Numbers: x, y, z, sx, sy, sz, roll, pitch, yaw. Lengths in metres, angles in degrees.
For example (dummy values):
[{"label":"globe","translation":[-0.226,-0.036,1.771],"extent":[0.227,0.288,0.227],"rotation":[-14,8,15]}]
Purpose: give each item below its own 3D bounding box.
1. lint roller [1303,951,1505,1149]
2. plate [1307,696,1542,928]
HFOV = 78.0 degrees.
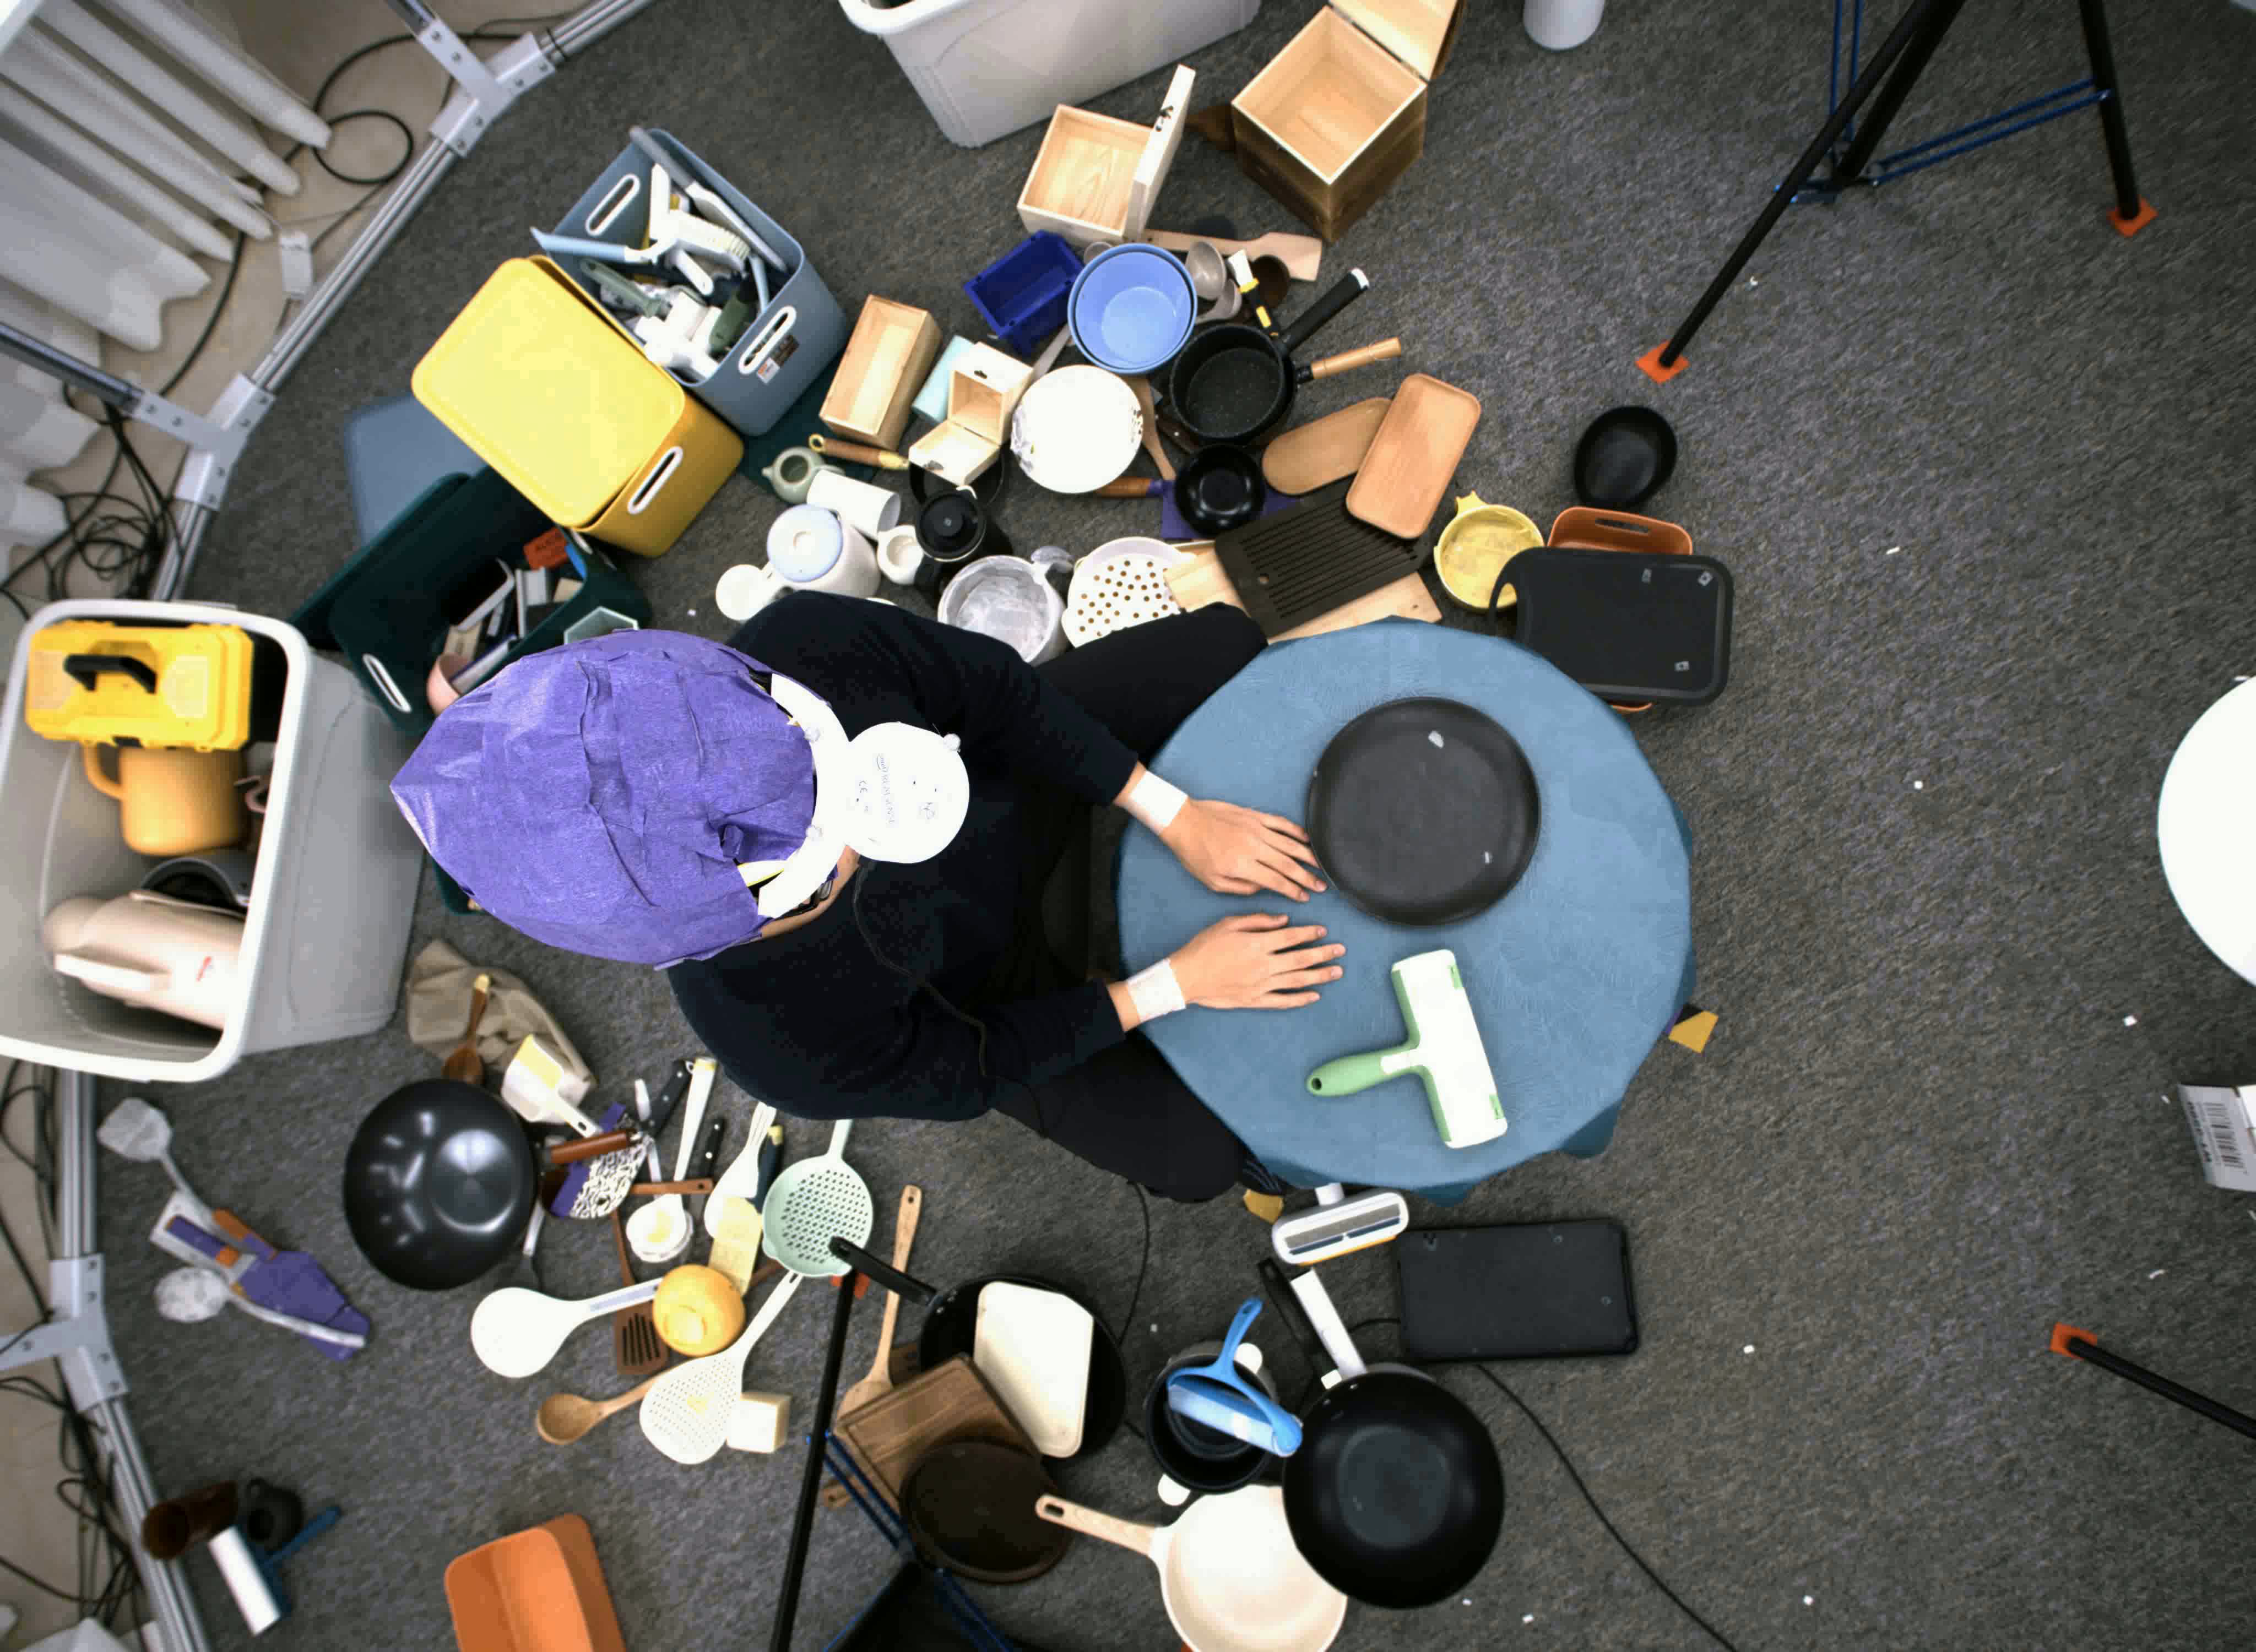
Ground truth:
[{"label":"lint roller","translation":[0.268,0.241,1.407],"extent":[0.184,0.082,0.197],"rotation":[-17,83,2]},{"label":"plate","translation":[0.310,-0.016,1.445],"extent":[0.245,0.023,0.243],"rotation":[-1,87,11]}]
